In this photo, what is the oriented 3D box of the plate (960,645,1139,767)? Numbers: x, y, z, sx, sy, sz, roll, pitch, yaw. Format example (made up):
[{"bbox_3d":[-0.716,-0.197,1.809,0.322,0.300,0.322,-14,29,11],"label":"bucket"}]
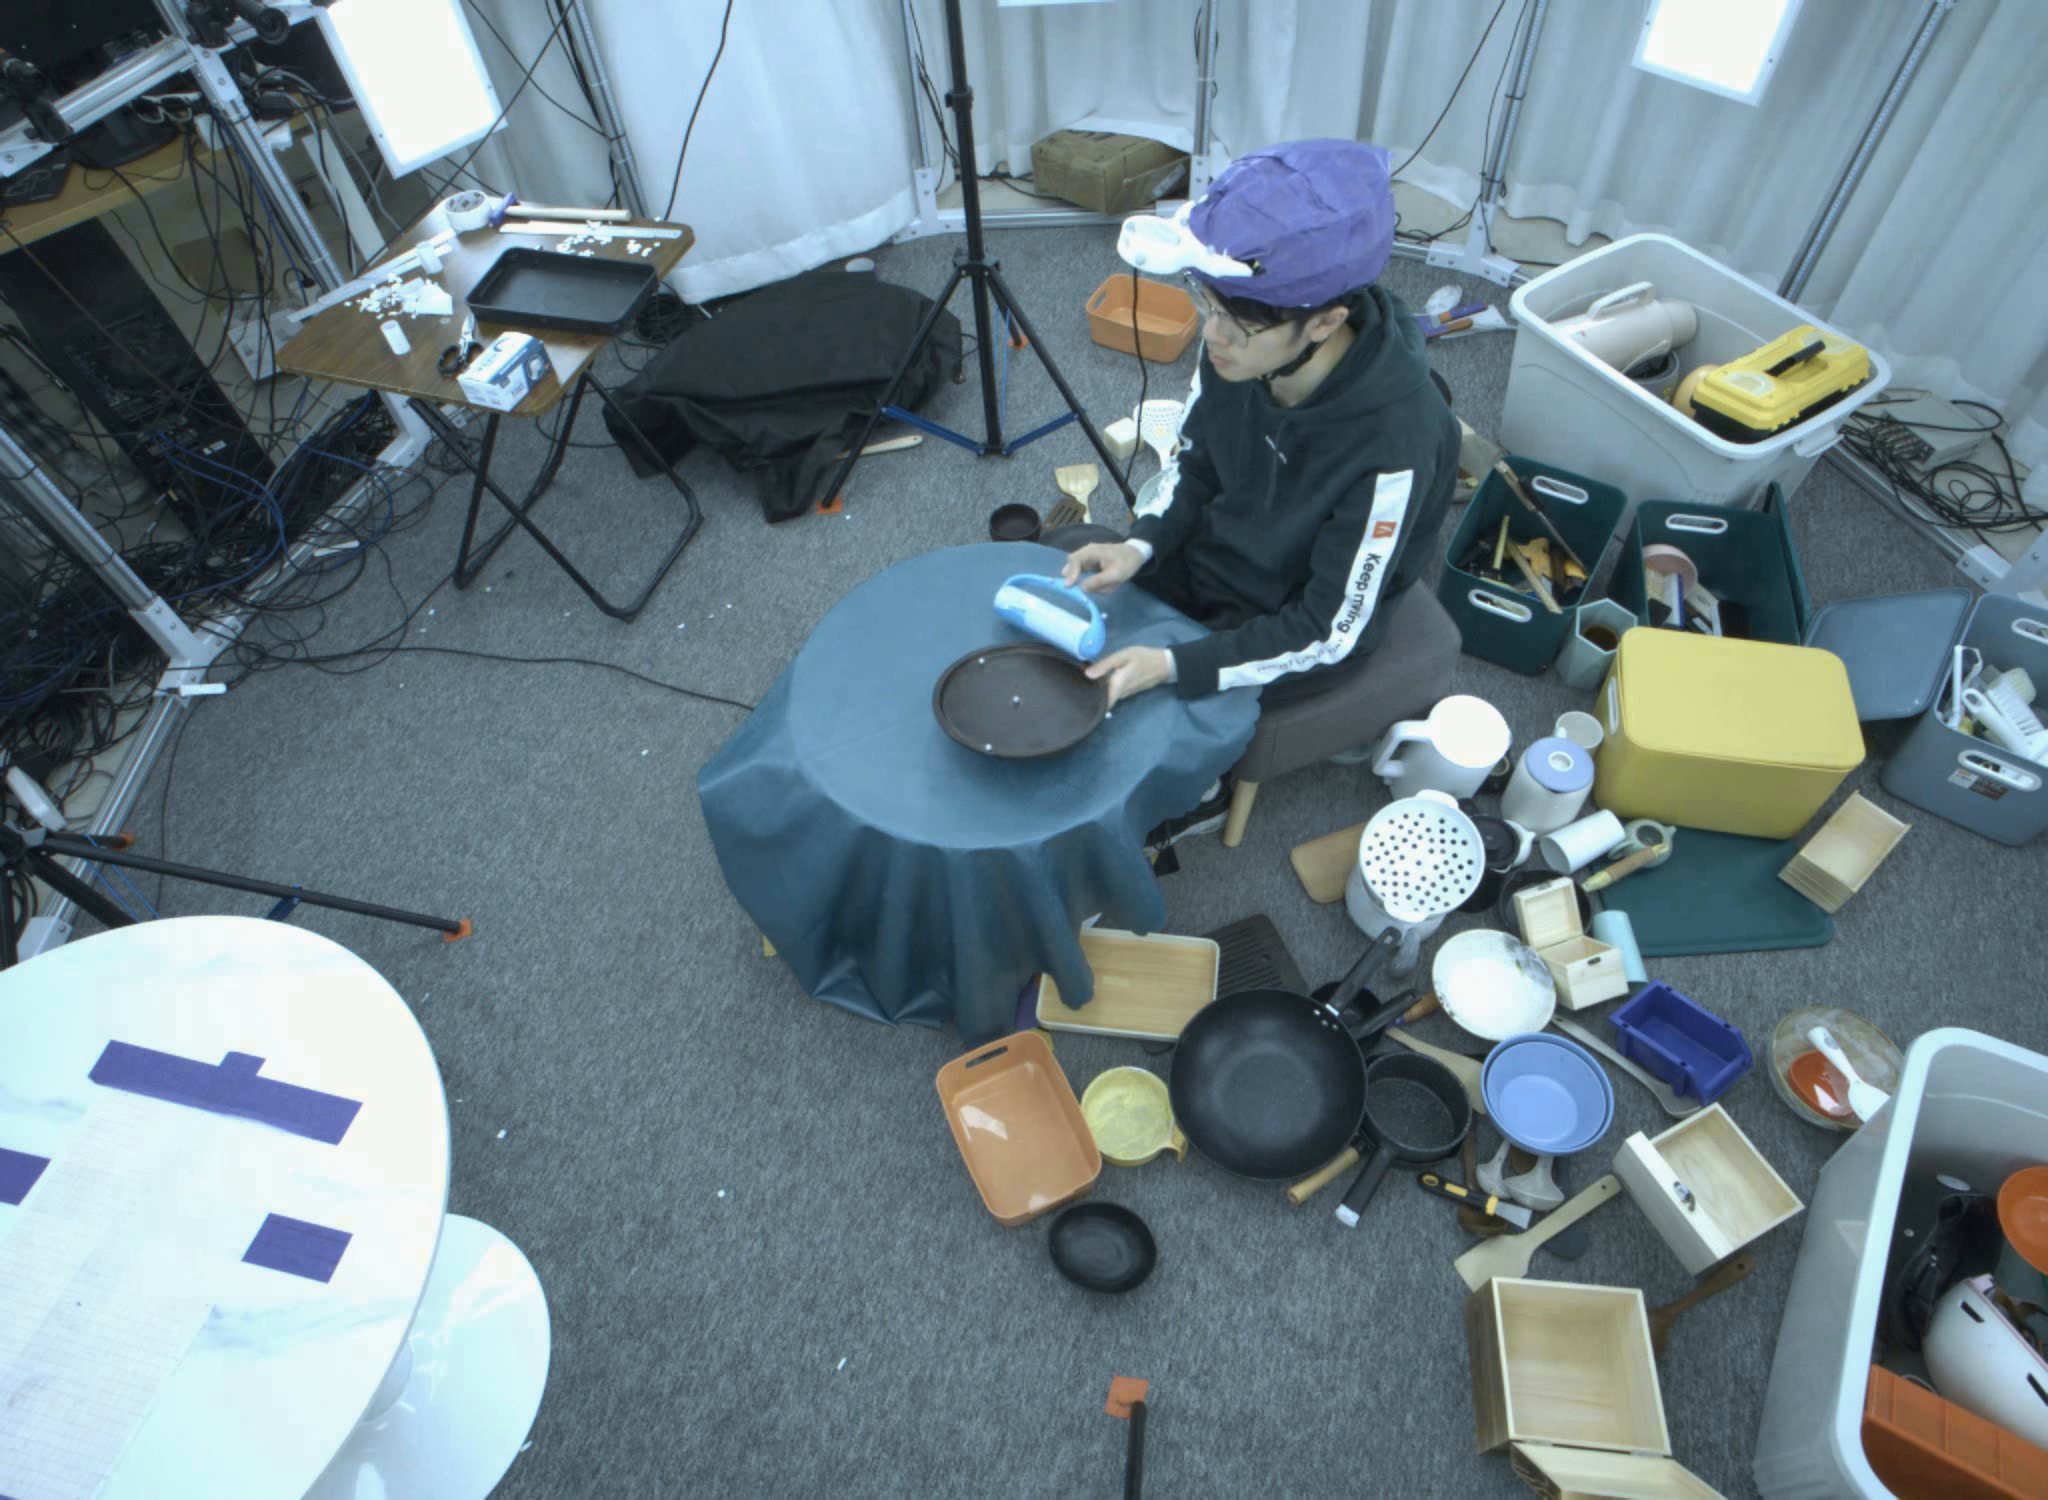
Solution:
[{"bbox_3d":[0.036,-0.065,1.751,0.255,0.029,0.252,1,45,0],"label":"plate"}]

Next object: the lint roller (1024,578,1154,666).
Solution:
[{"bbox_3d":[0.121,-0.222,1.853,0.181,0.069,0.223,-41,46,-21],"label":"lint roller"}]
